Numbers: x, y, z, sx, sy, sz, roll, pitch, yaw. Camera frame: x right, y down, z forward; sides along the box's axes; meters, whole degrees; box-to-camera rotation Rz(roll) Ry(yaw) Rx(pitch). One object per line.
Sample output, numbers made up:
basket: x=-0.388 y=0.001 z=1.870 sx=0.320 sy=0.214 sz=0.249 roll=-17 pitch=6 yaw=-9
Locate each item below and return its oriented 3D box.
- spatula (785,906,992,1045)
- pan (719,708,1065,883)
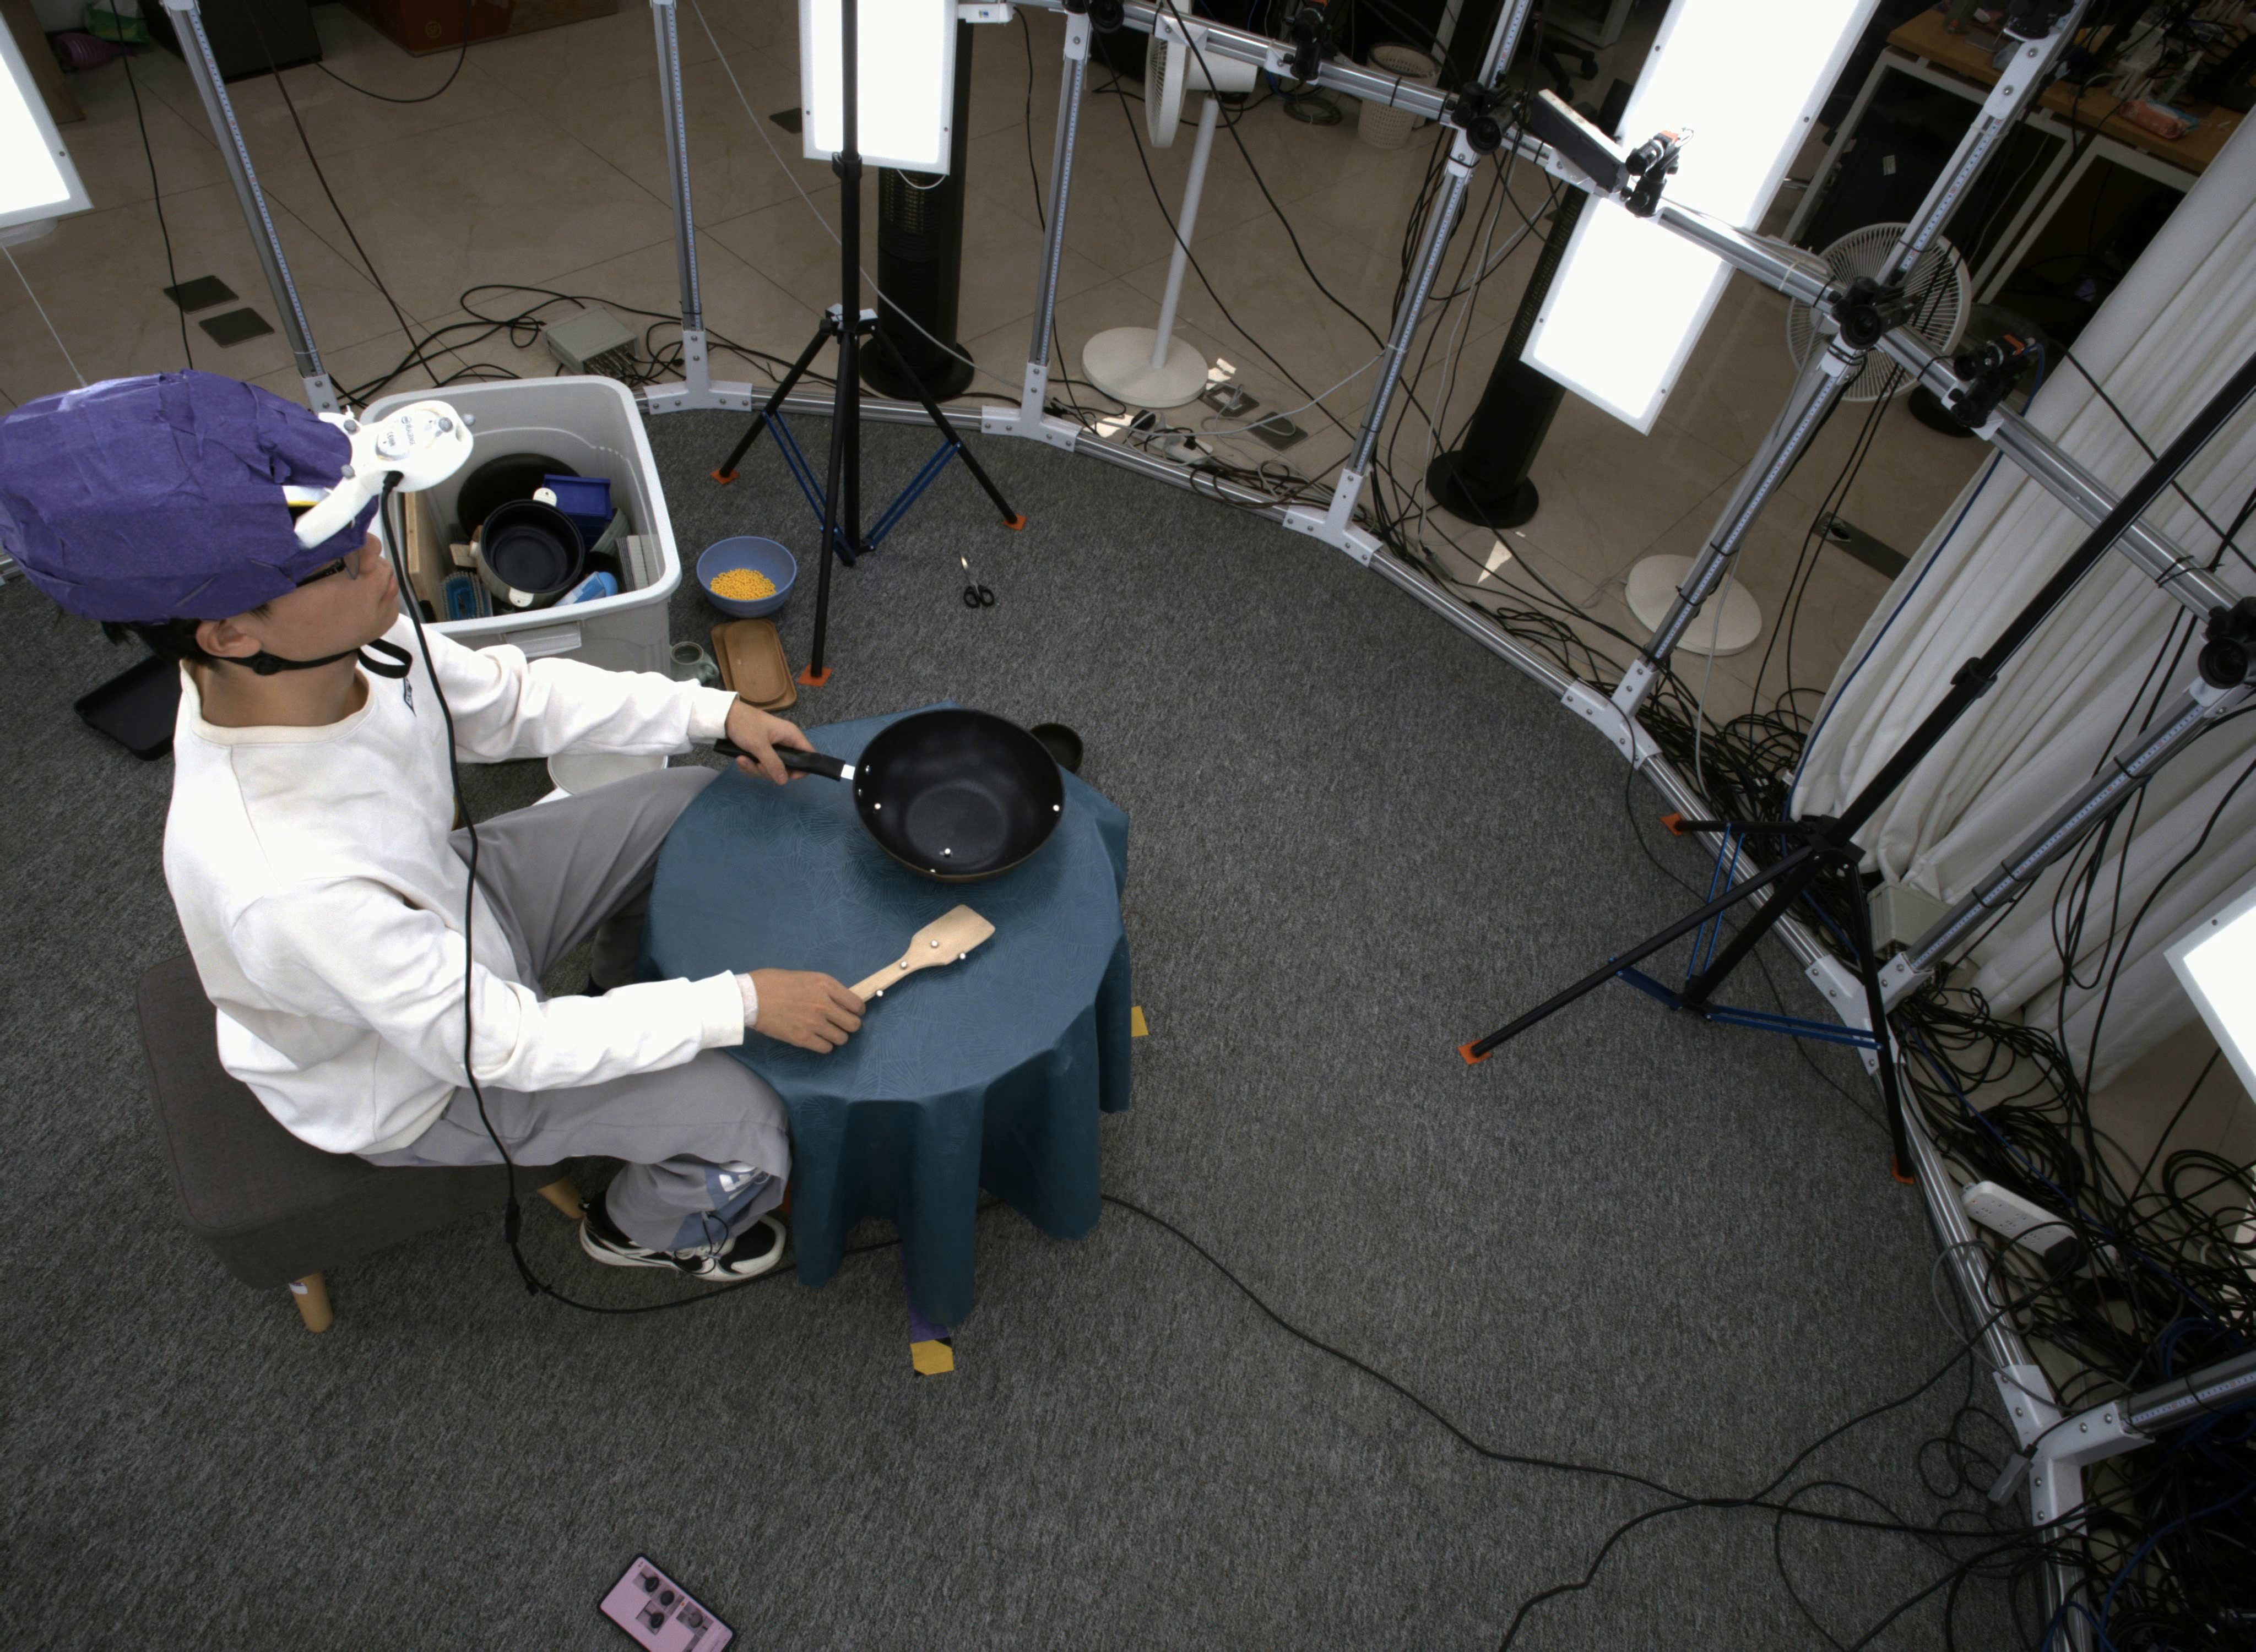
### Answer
spatula: x=-0.297 y=0.185 z=1.609 sx=0.070 sy=0.011 sz=0.294 roll=36 pitch=51 yaw=29
pan: x=-0.316 y=-0.045 z=1.739 sx=0.460 sy=0.089 sz=0.283 roll=10 pitch=52 yaw=-5
